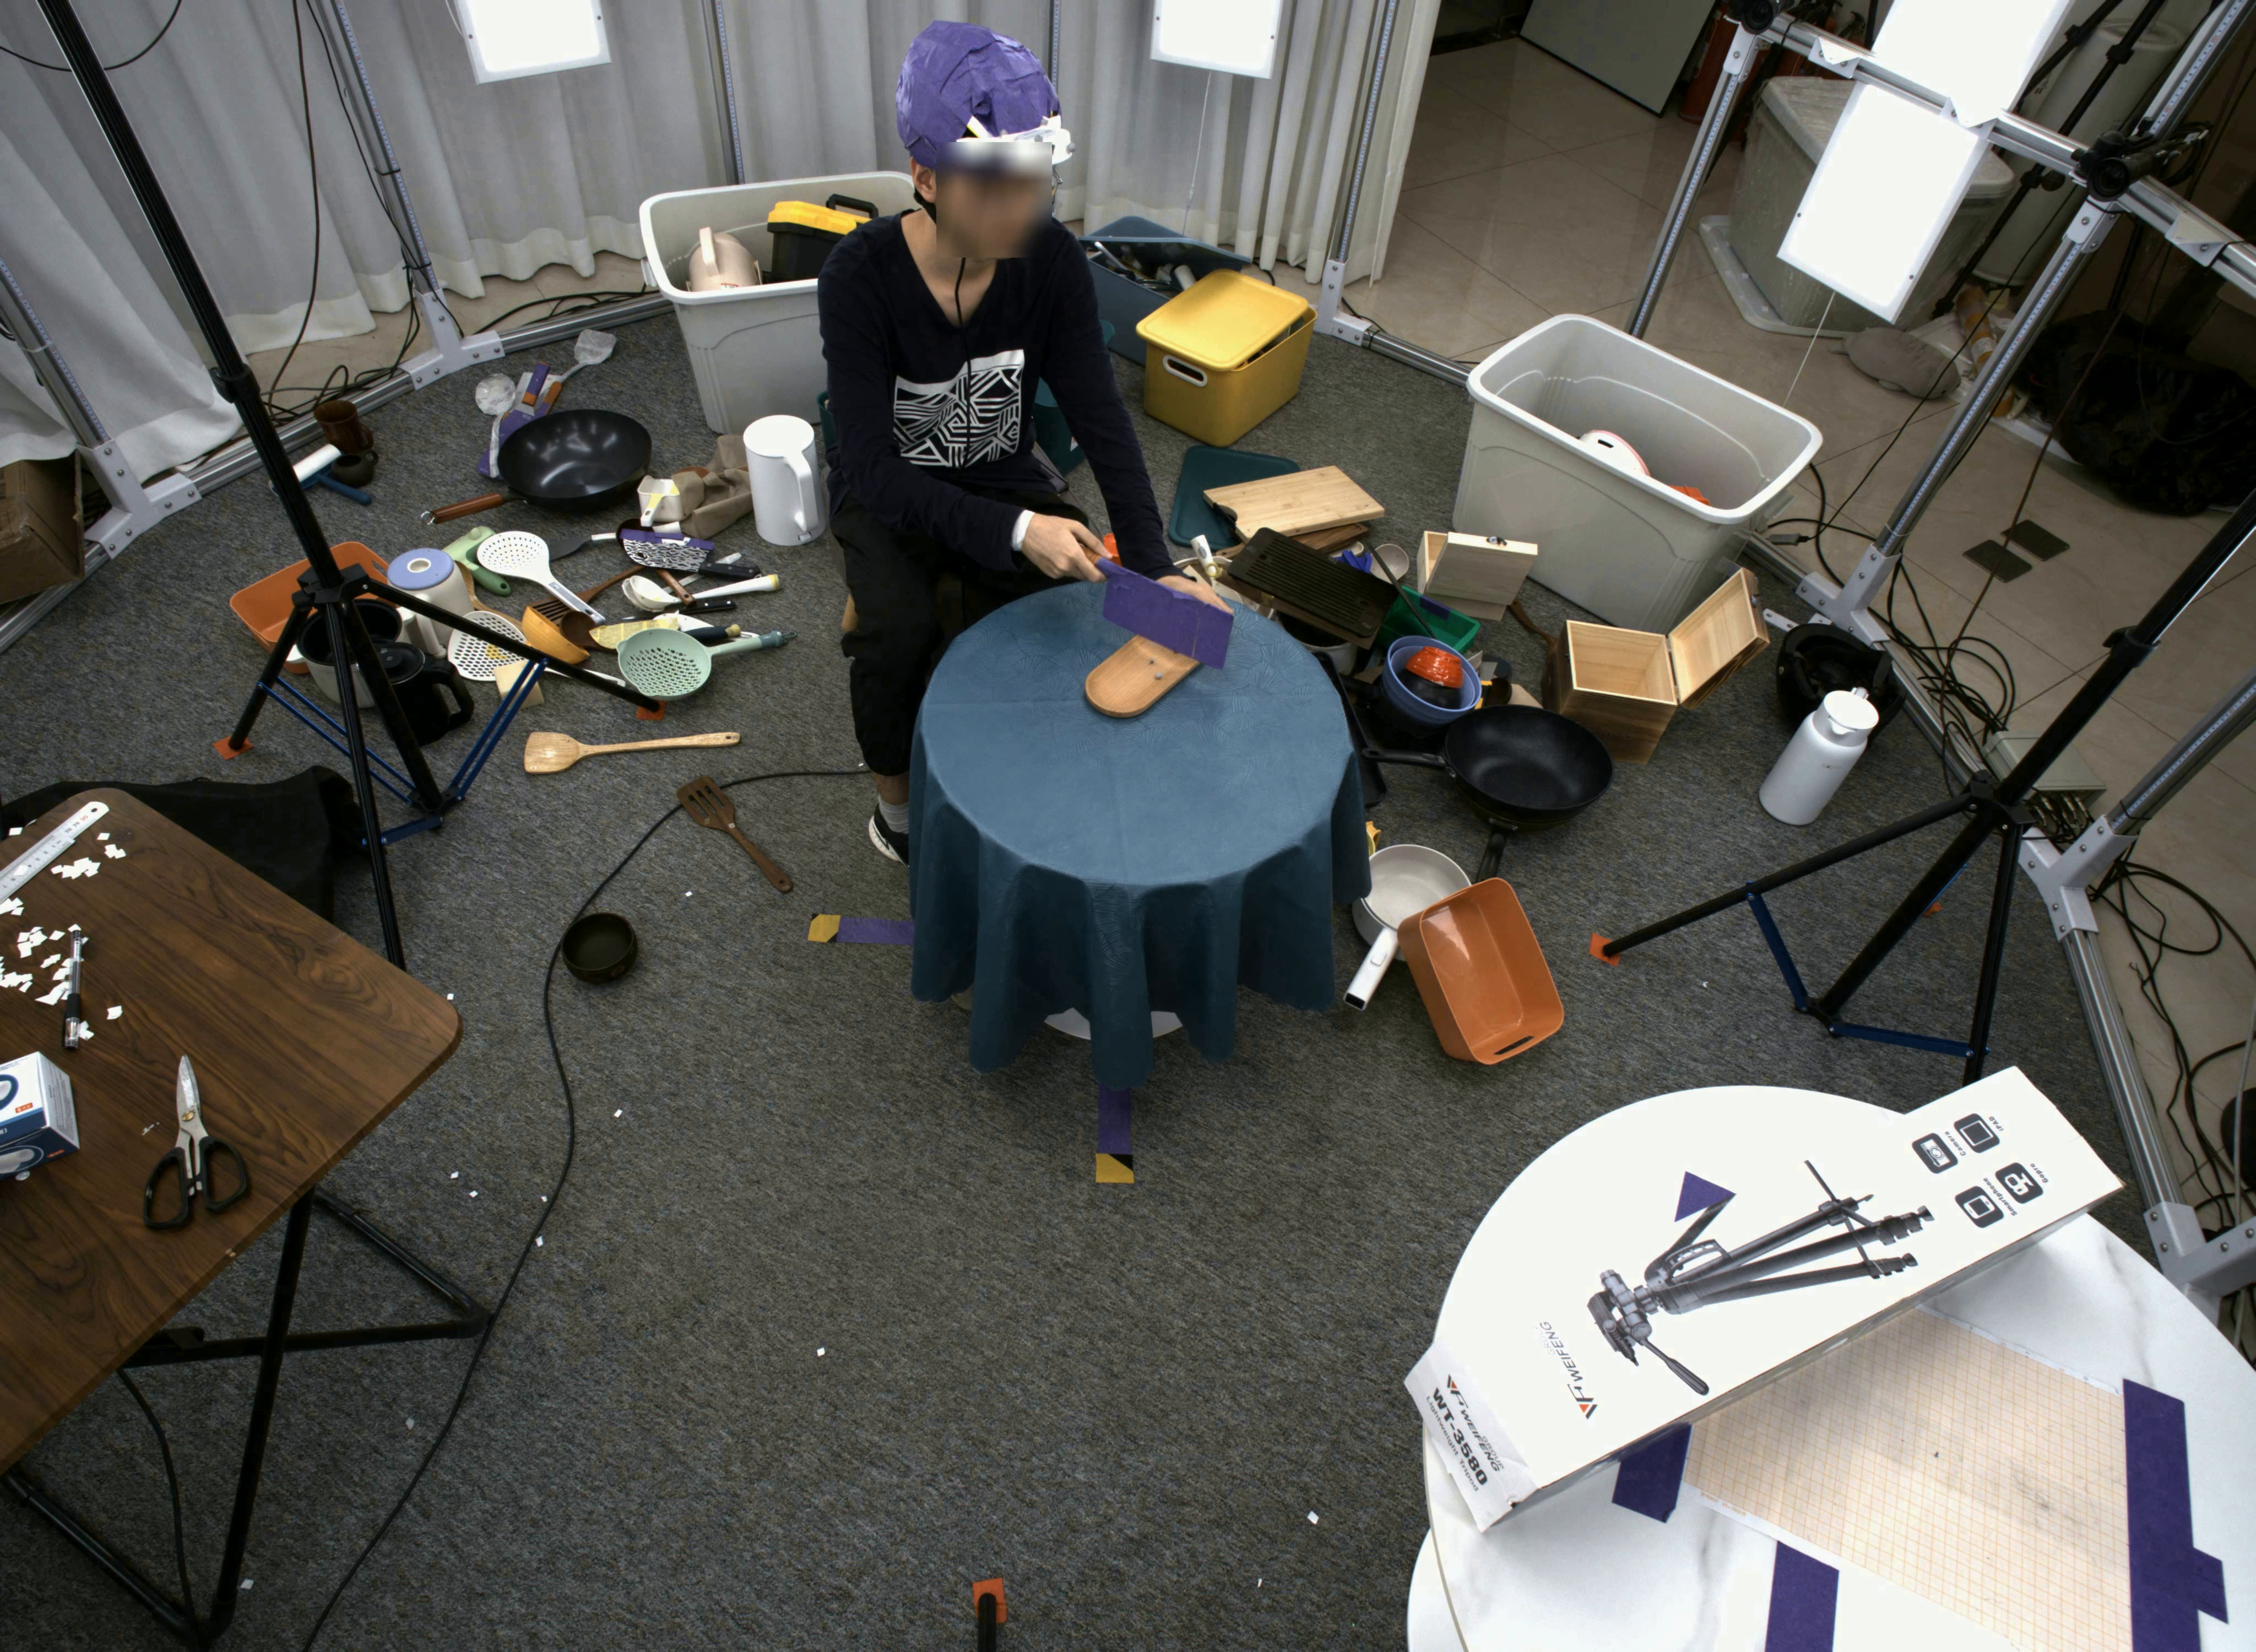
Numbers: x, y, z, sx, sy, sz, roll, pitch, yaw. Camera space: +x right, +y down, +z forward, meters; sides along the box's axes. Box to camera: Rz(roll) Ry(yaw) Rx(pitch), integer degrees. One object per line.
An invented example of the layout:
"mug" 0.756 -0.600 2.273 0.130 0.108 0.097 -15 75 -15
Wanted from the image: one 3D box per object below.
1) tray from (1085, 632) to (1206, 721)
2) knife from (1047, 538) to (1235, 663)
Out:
"tray" 0.029 -0.229 1.858 0.103 0.020 0.234 31 57 23
"knife" 0.011 -0.322 1.852 0.319 0.101 0.032 28 36 25
